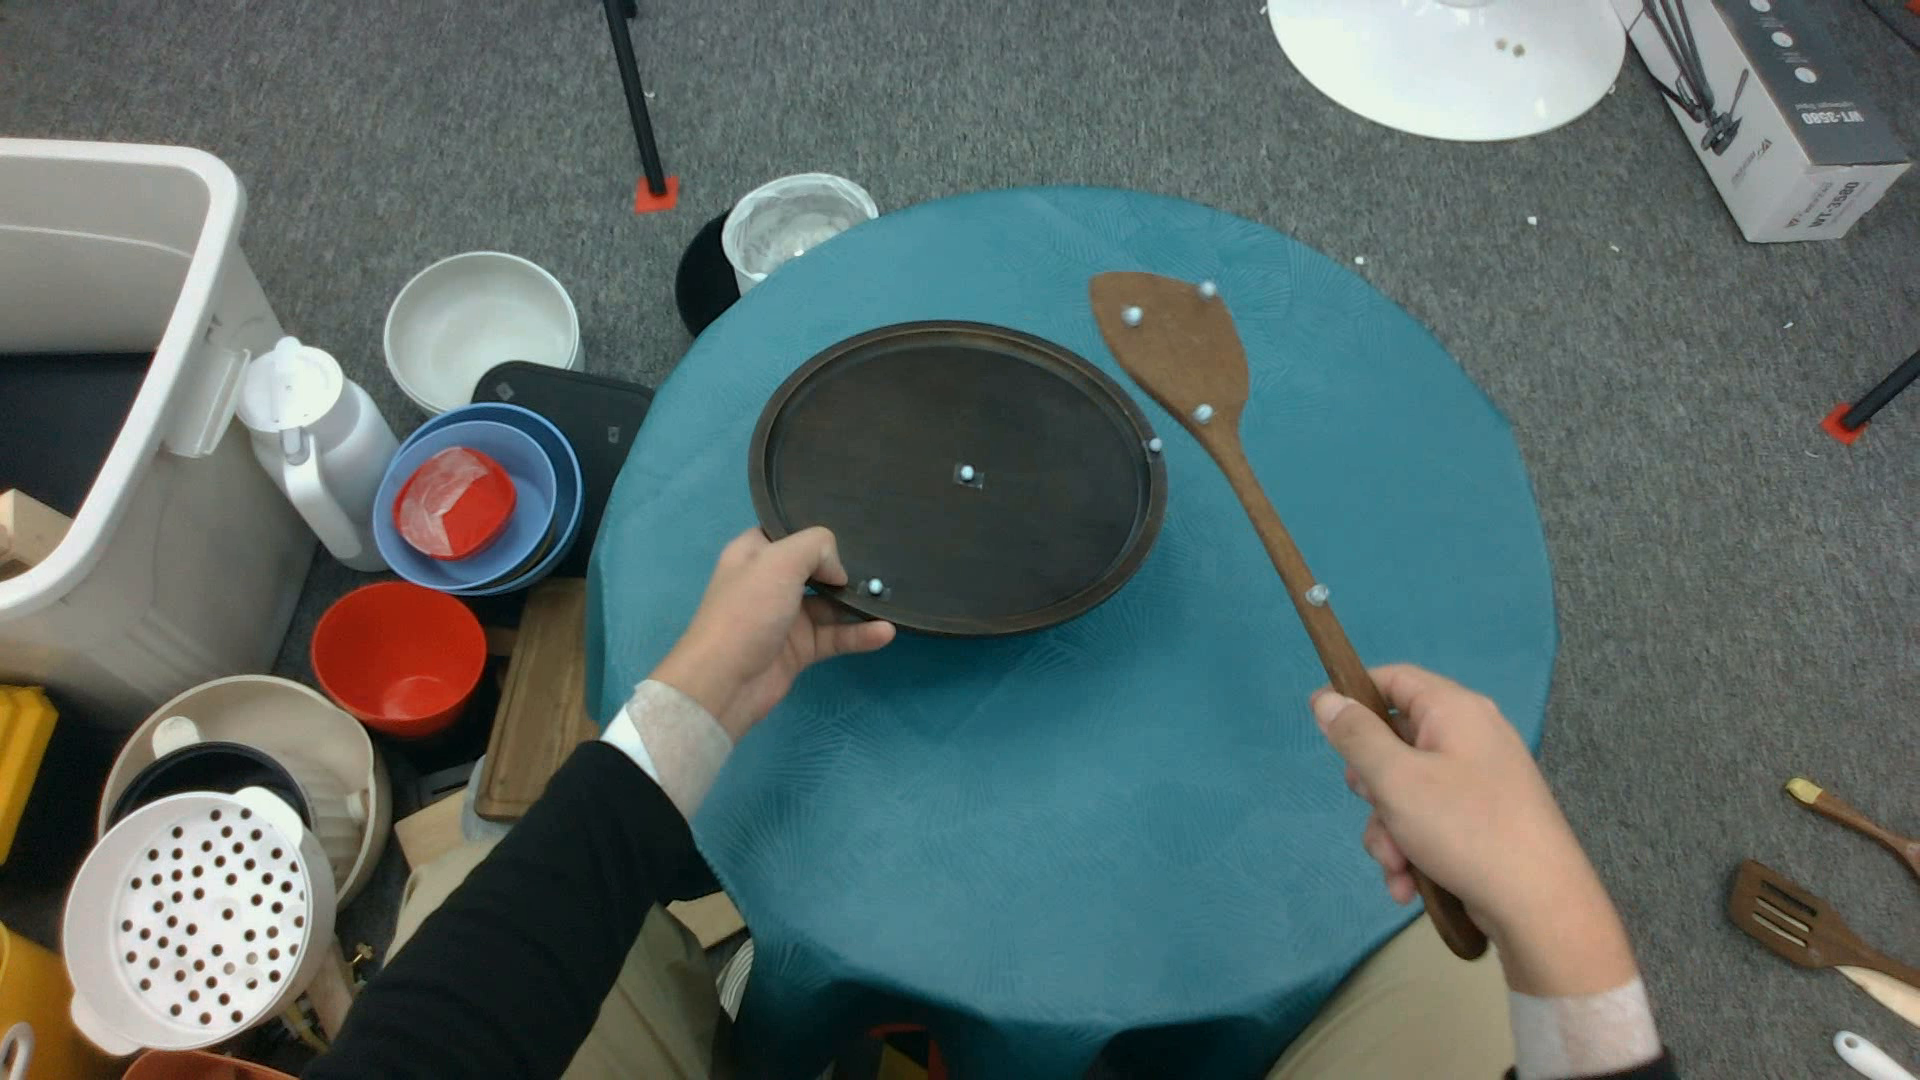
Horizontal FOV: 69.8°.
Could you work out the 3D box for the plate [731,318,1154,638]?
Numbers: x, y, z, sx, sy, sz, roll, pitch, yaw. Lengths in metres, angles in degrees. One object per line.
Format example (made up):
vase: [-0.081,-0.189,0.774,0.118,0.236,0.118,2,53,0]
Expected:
plate: [-0.010,-0.044,0.829,0.255,0.029,0.256,4,50,-5]

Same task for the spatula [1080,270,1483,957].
spatula: [0.152,0.011,0.659,0.096,0.015,0.387,2,53,-33]
